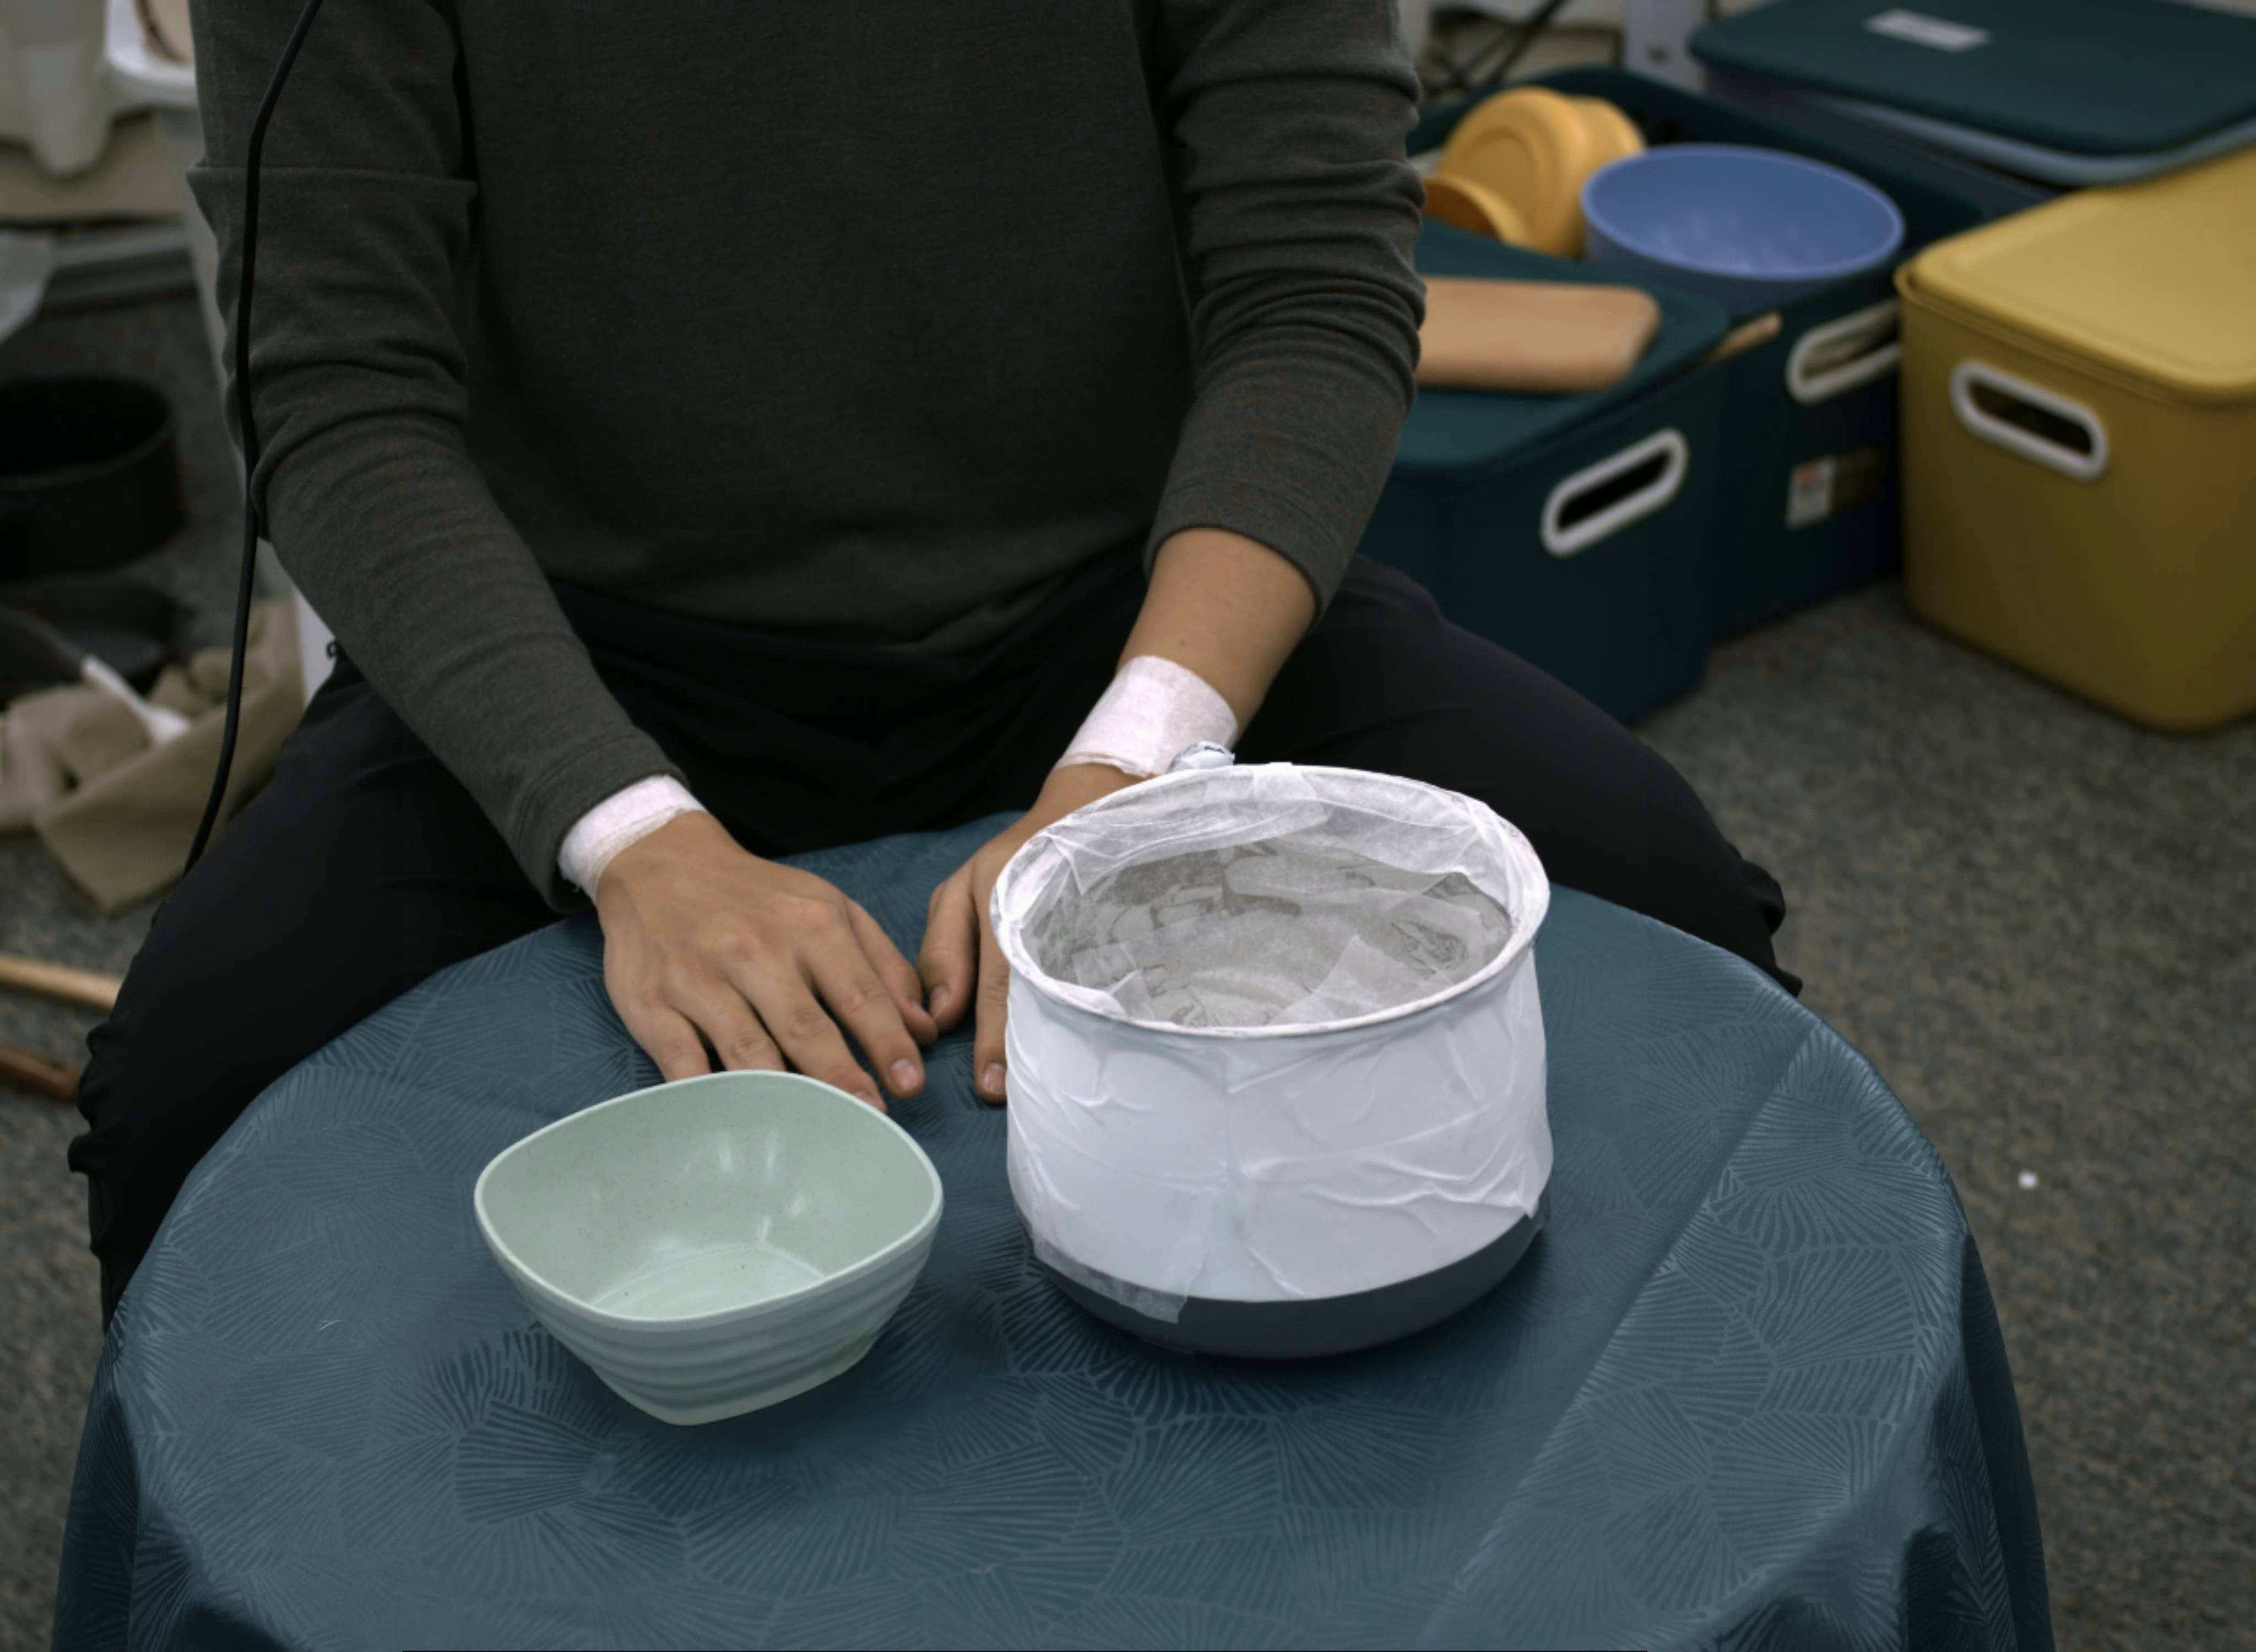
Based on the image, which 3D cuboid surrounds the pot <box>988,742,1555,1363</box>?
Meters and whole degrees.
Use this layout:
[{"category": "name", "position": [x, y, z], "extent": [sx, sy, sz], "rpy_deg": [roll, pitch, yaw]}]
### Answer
[{"category": "pot", "position": [0.042, 0.065, 1.822], "extent": [0.178, 0.135, 0.236], "rpy_deg": [-8, 27, -9]}]

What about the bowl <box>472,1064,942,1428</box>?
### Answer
[{"category": "bowl", "position": [-0.132, 0.140, 1.778], "extent": [0.151, 0.058, 0.154], "rpy_deg": [-2, 29, 1]}]
